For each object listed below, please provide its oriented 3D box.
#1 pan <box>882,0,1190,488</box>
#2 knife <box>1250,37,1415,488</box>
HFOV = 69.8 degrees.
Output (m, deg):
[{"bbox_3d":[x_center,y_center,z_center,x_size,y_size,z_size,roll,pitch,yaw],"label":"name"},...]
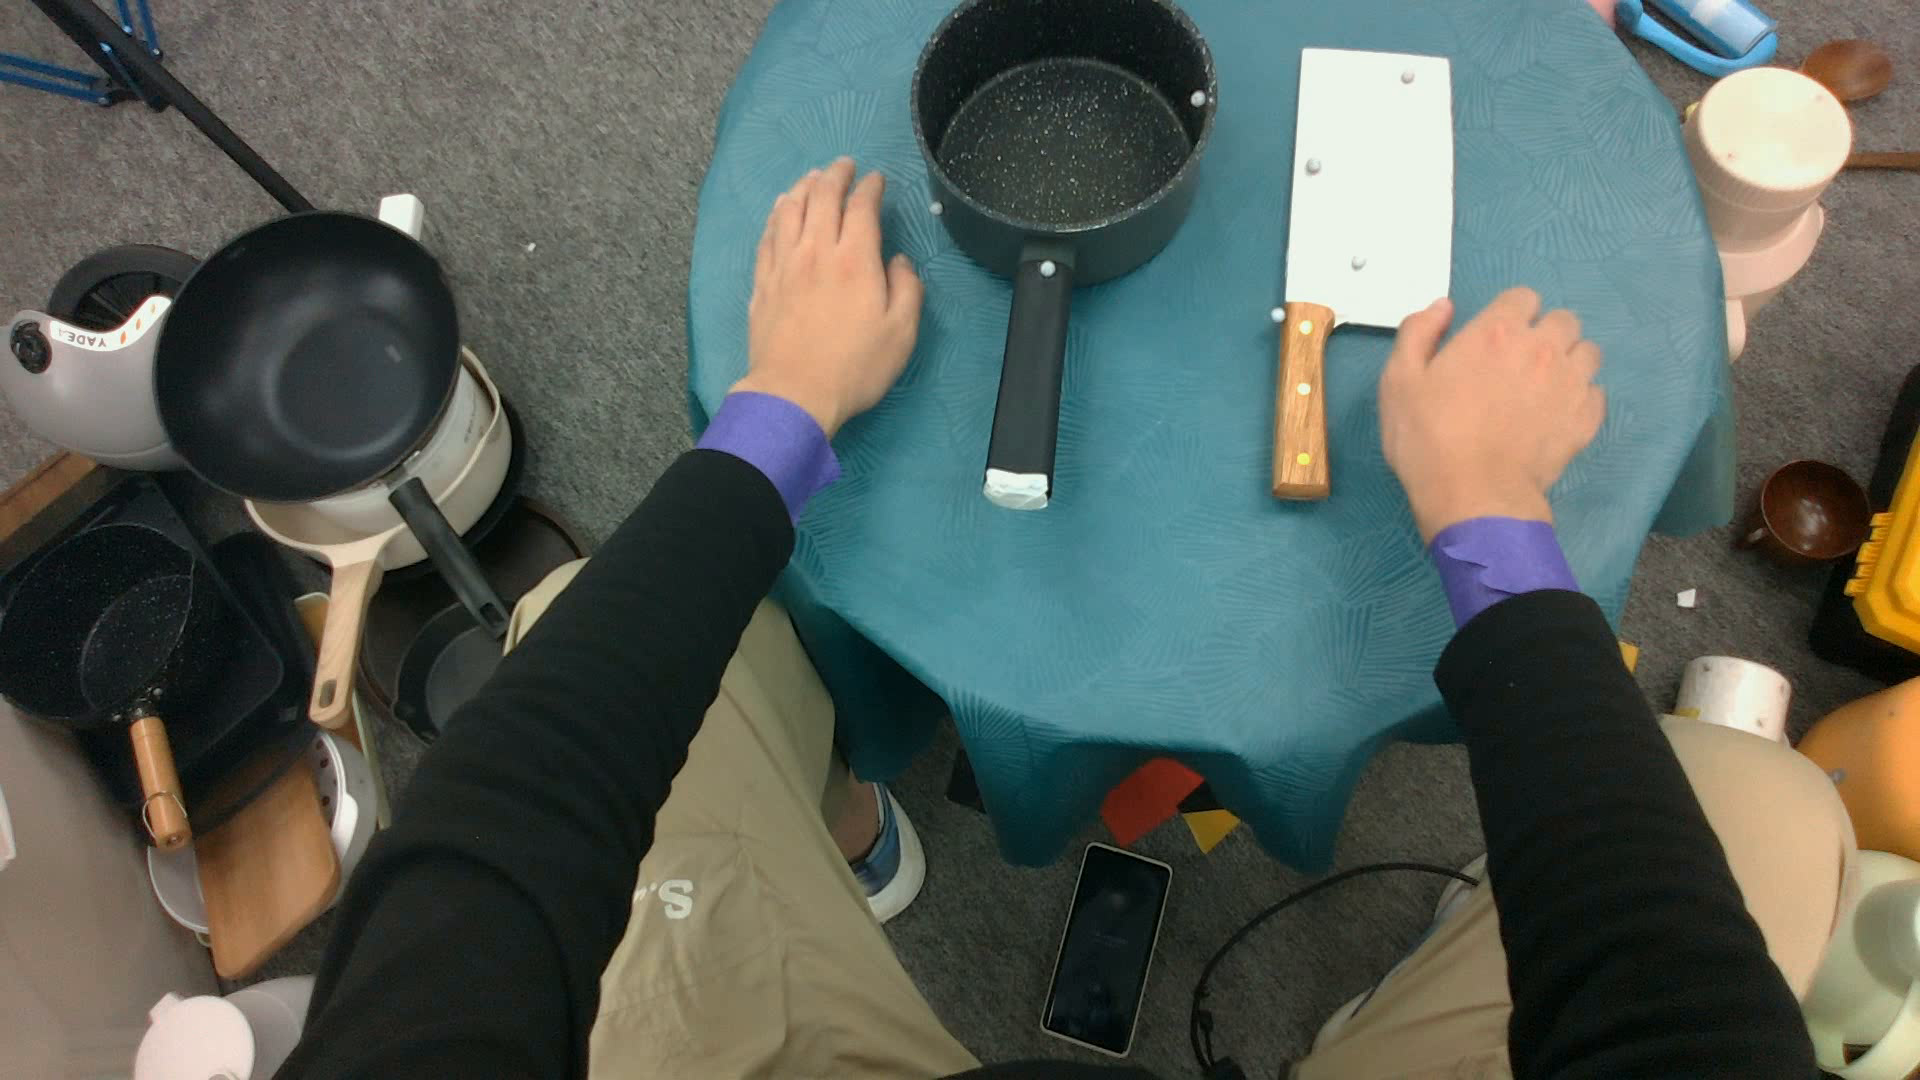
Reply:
[{"bbox_3d":[0.033,-0.173,0.776,0.172,0.086,0.329,7,71,6],"label":"pan"},{"bbox_3d":[0.217,-0.169,0.799,0.093,0.021,0.307,6,69,4],"label":"knife"}]
